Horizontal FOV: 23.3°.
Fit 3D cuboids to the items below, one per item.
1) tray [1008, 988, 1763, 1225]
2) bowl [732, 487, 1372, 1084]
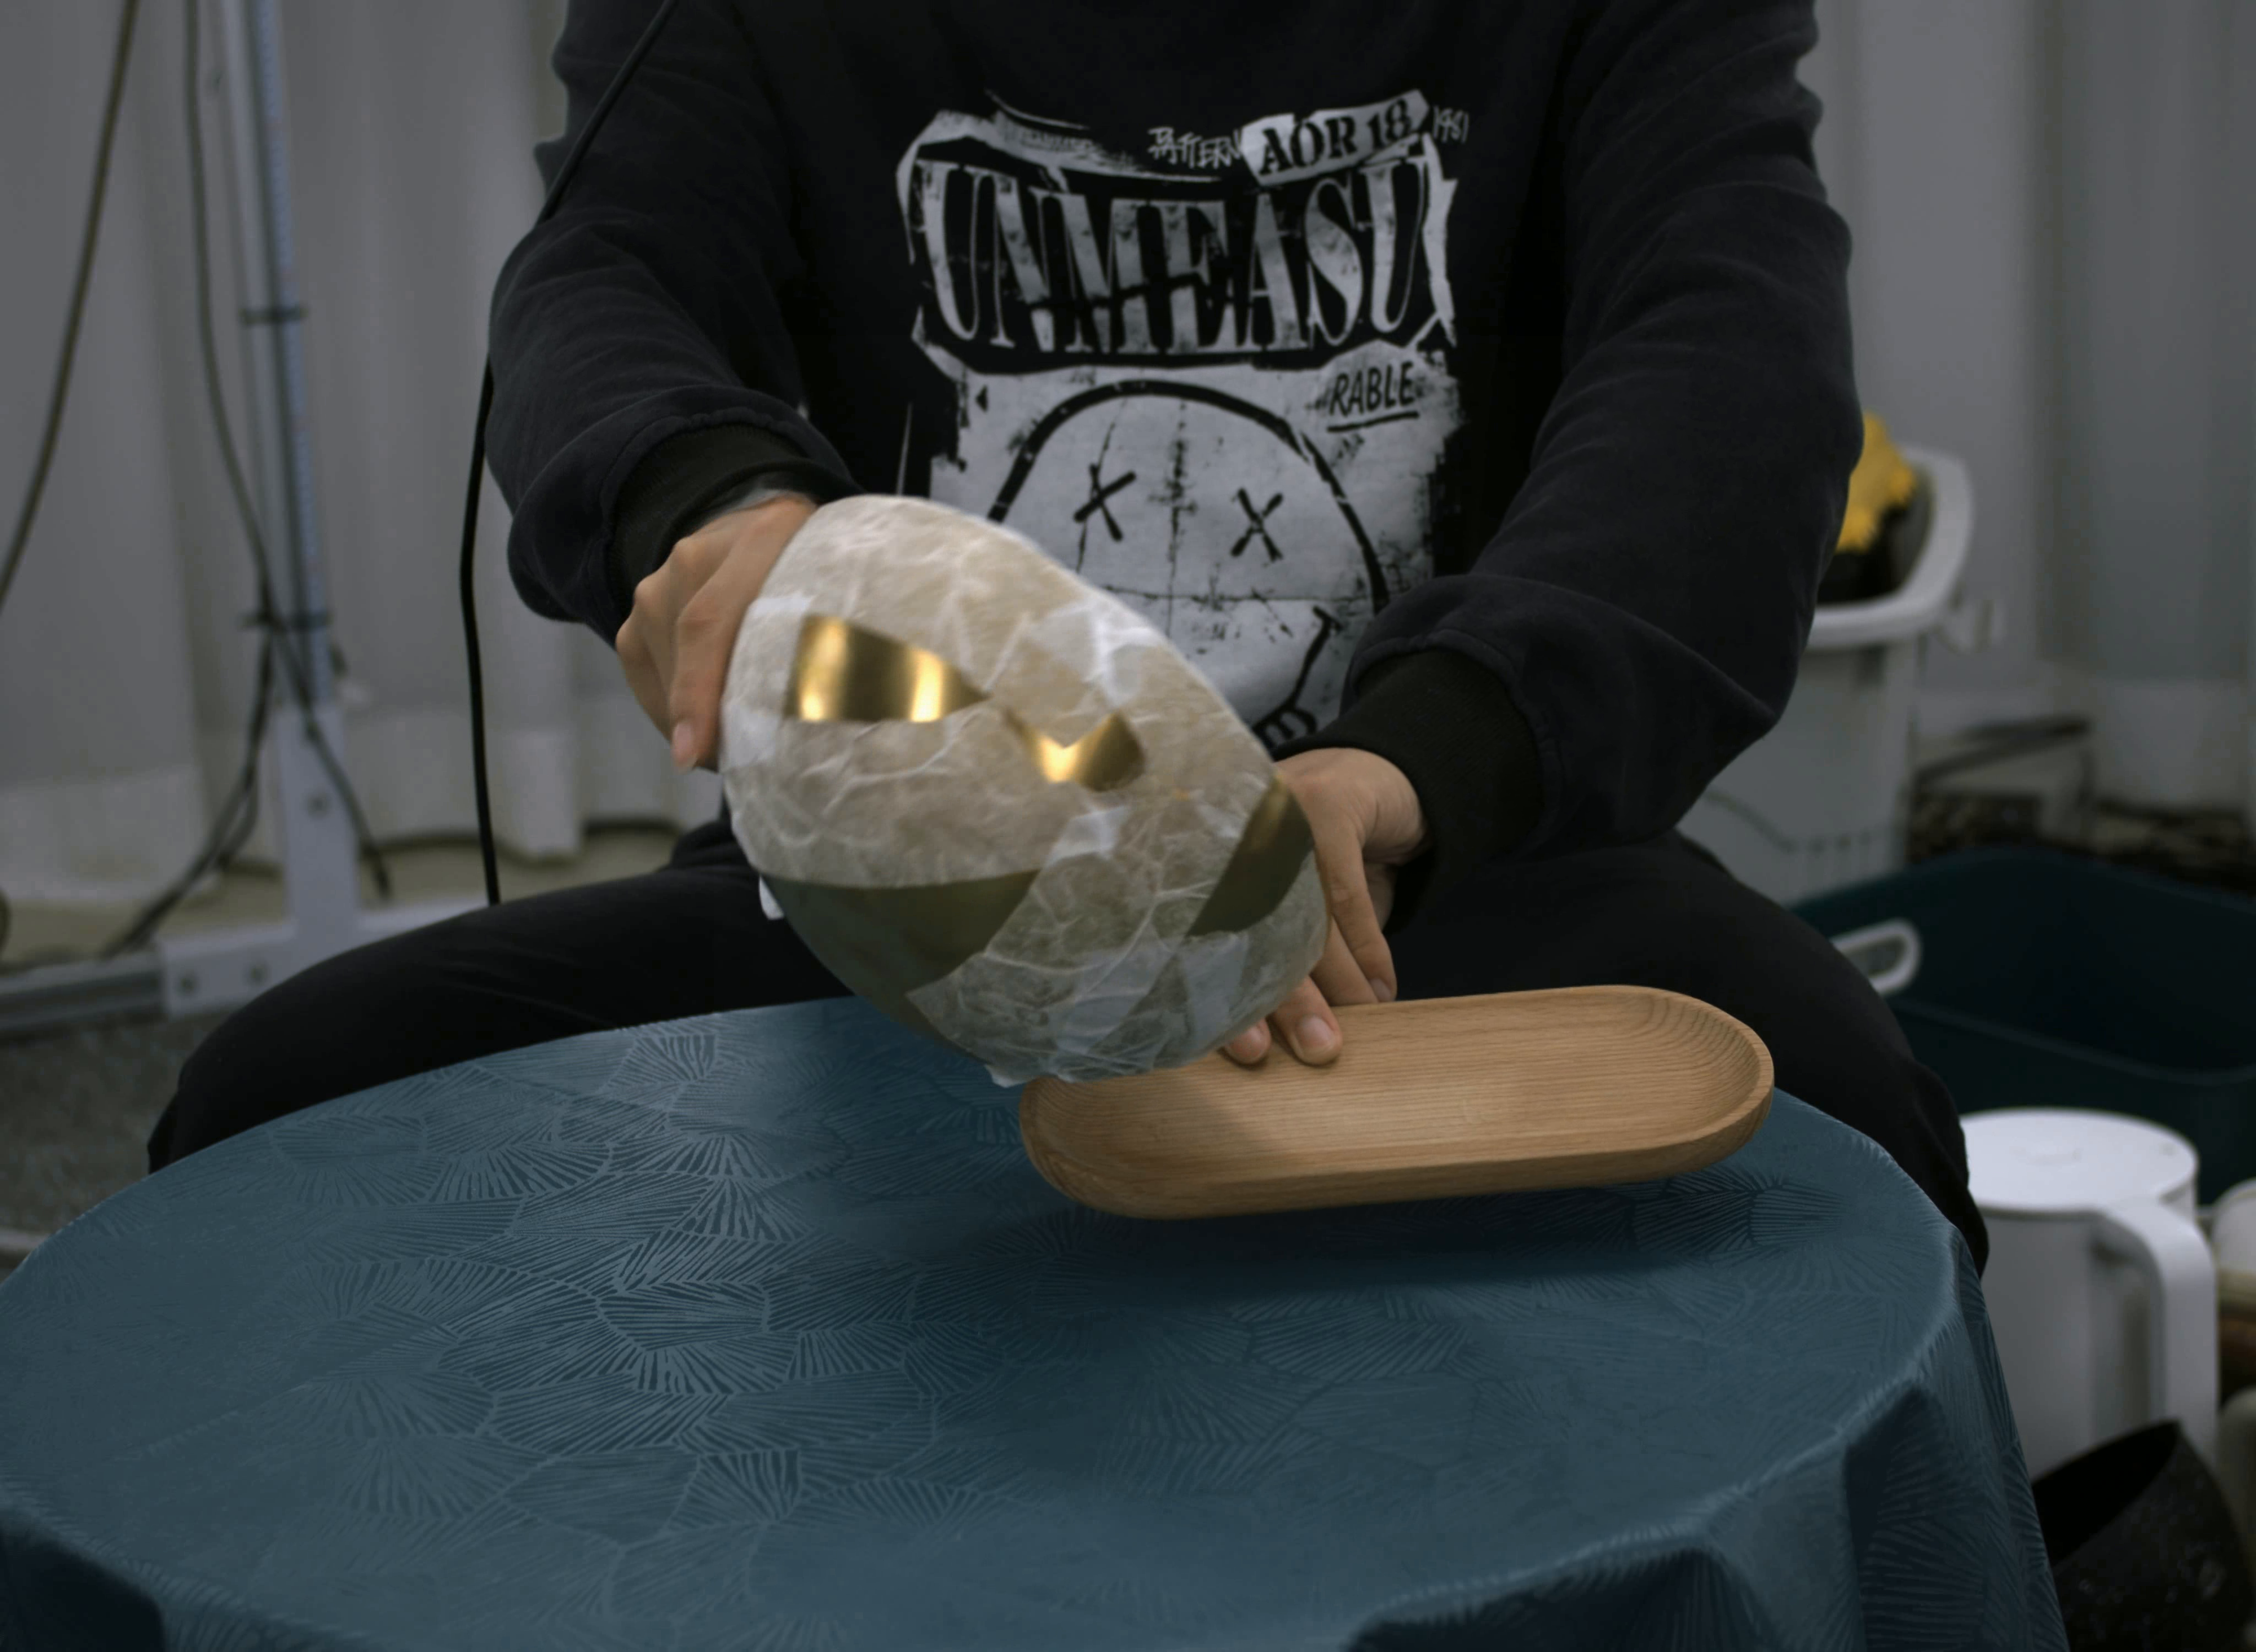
[{"bbox_3d":[0.079,0.086,1.666,0.230,0.020,0.103,-6,25,-3],"label":"tray"},{"bbox_3d":[-0.041,0.009,1.598,0.216,0.212,0.095,13,52,45],"label":"bowl"}]
